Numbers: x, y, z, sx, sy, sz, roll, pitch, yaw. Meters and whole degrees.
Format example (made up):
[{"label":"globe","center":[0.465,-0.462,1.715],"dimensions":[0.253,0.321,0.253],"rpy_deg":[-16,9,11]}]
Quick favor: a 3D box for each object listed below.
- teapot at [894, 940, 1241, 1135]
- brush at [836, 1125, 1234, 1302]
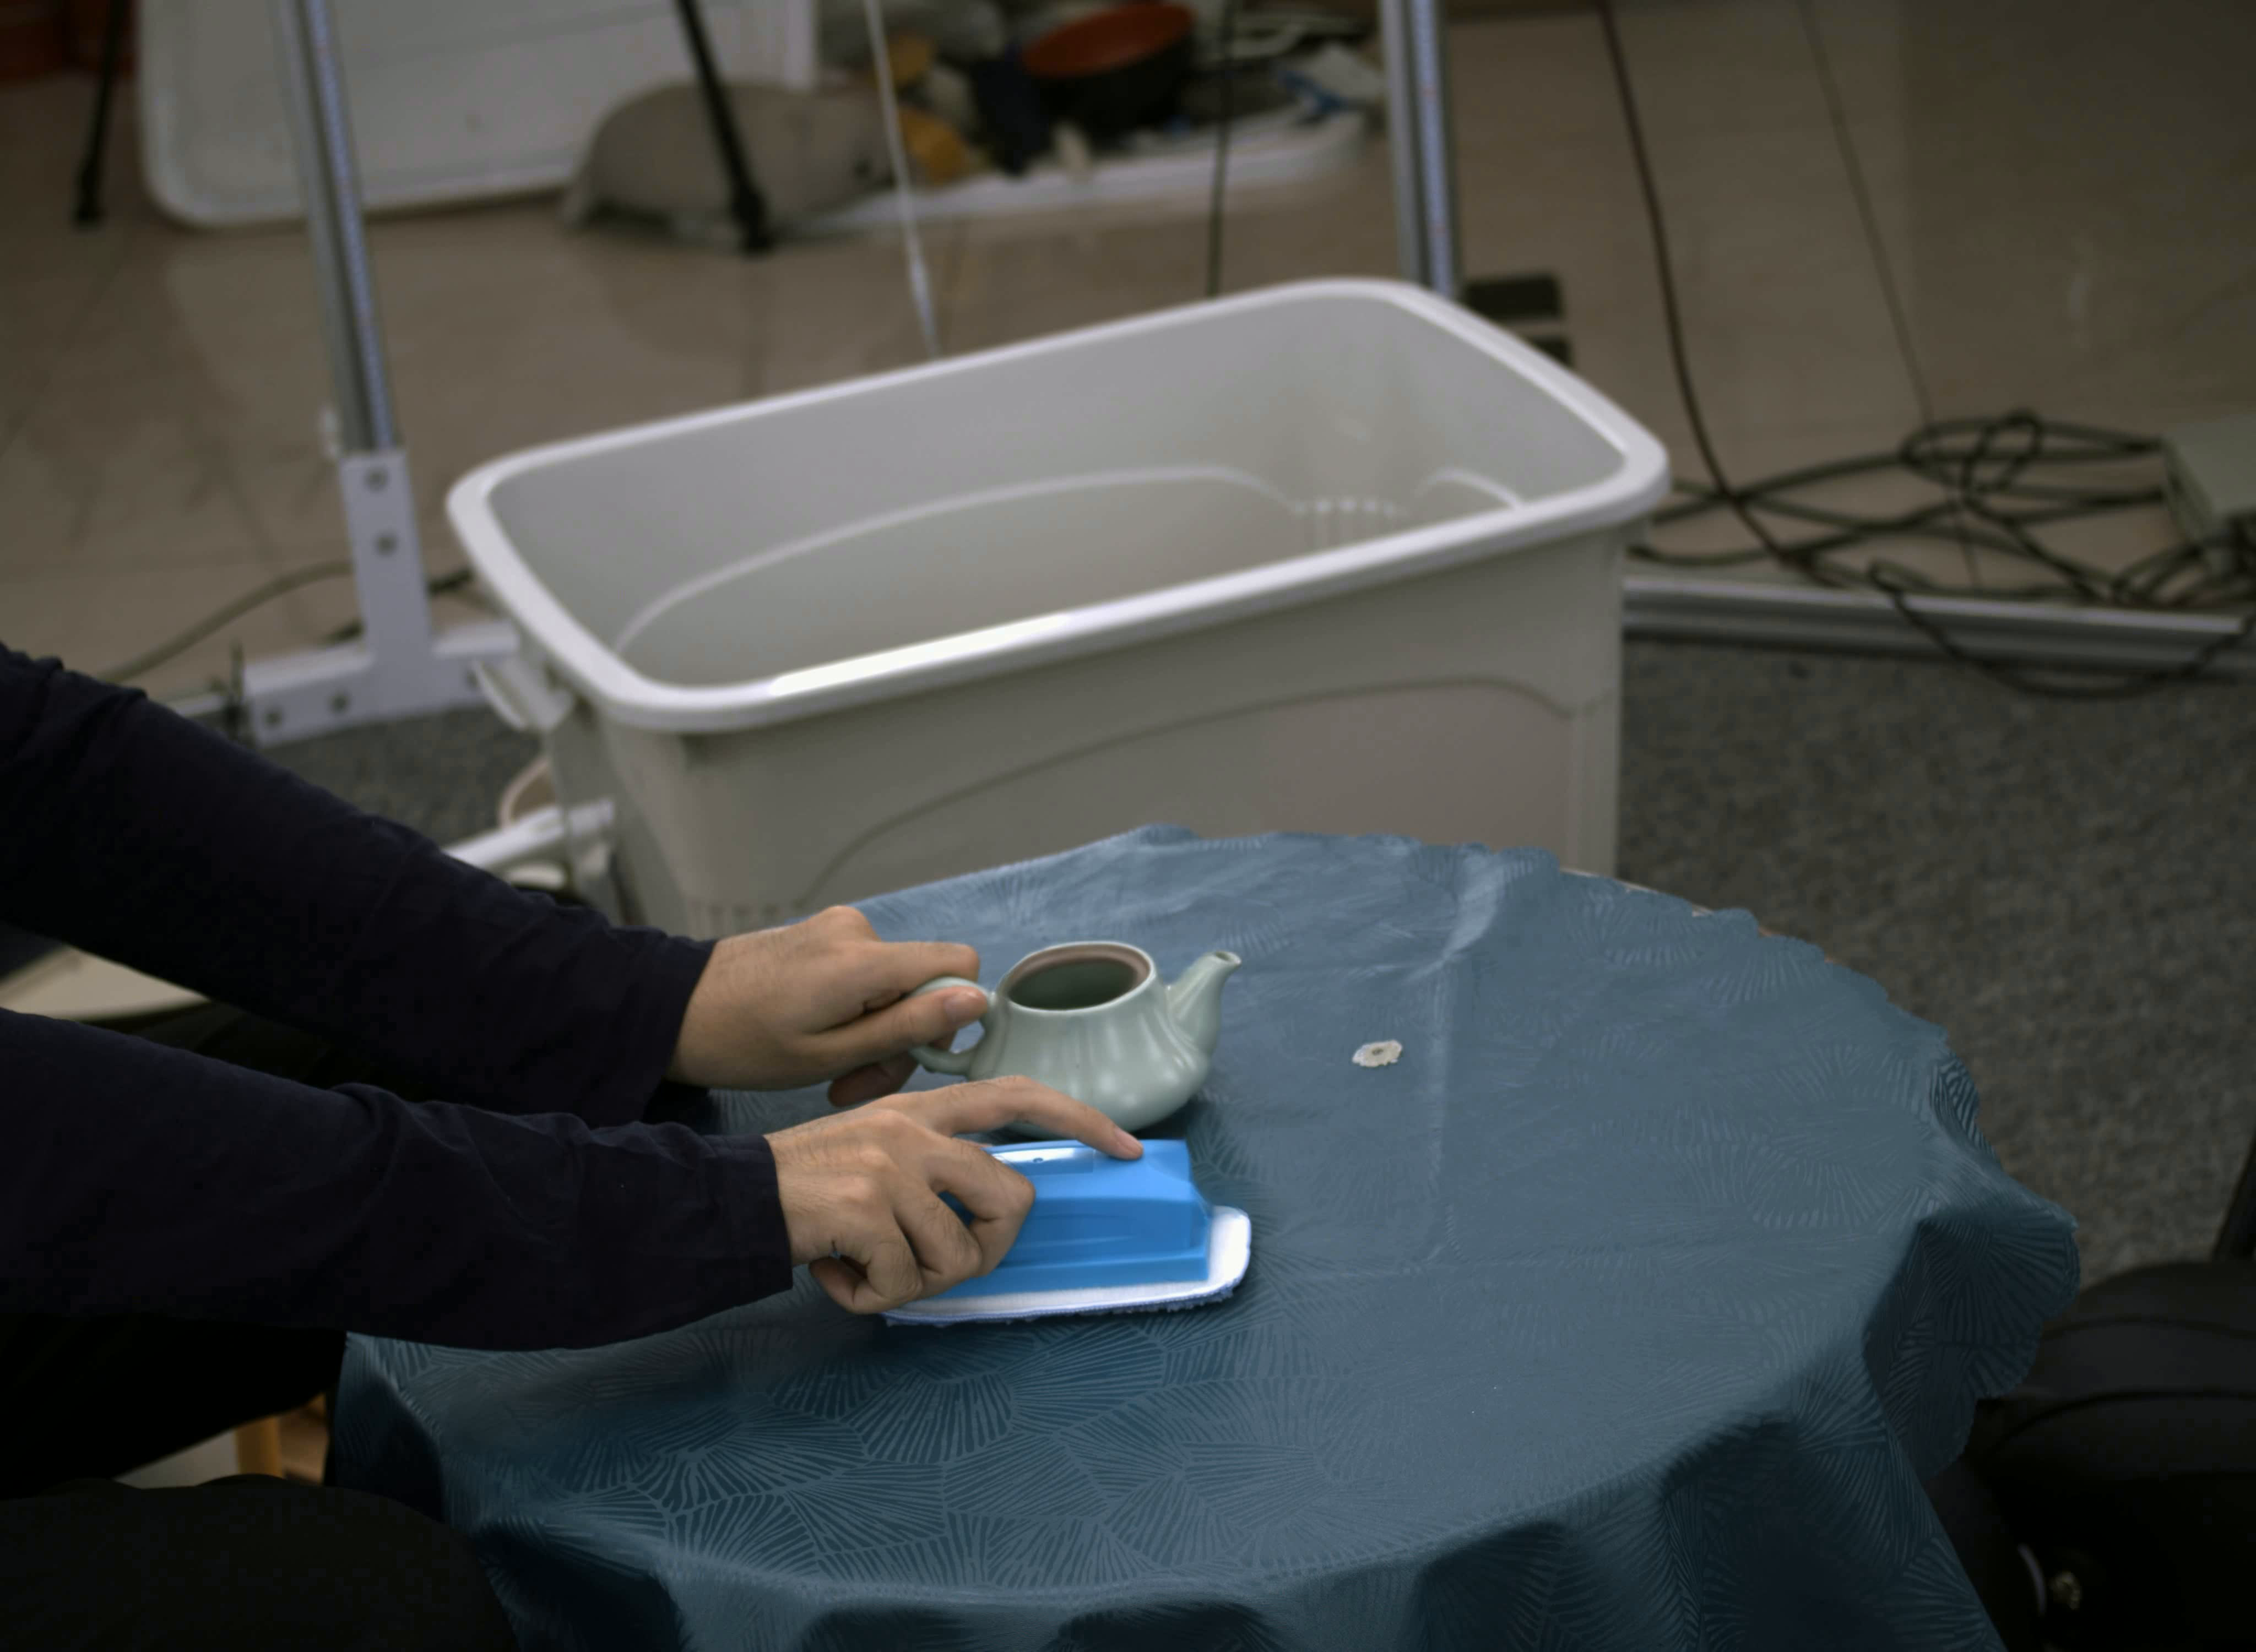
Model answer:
[{"label":"teapot","center":[-0.022,0.082,2.203],"dimensions":[0.137,0.062,0.095],"rpy_deg":[-5,27,2]},{"label":"brush","center":[-0.034,0.140,2.080],"dimensions":[0.144,0.057,0.083],"rpy_deg":[-1,22,6]}]
